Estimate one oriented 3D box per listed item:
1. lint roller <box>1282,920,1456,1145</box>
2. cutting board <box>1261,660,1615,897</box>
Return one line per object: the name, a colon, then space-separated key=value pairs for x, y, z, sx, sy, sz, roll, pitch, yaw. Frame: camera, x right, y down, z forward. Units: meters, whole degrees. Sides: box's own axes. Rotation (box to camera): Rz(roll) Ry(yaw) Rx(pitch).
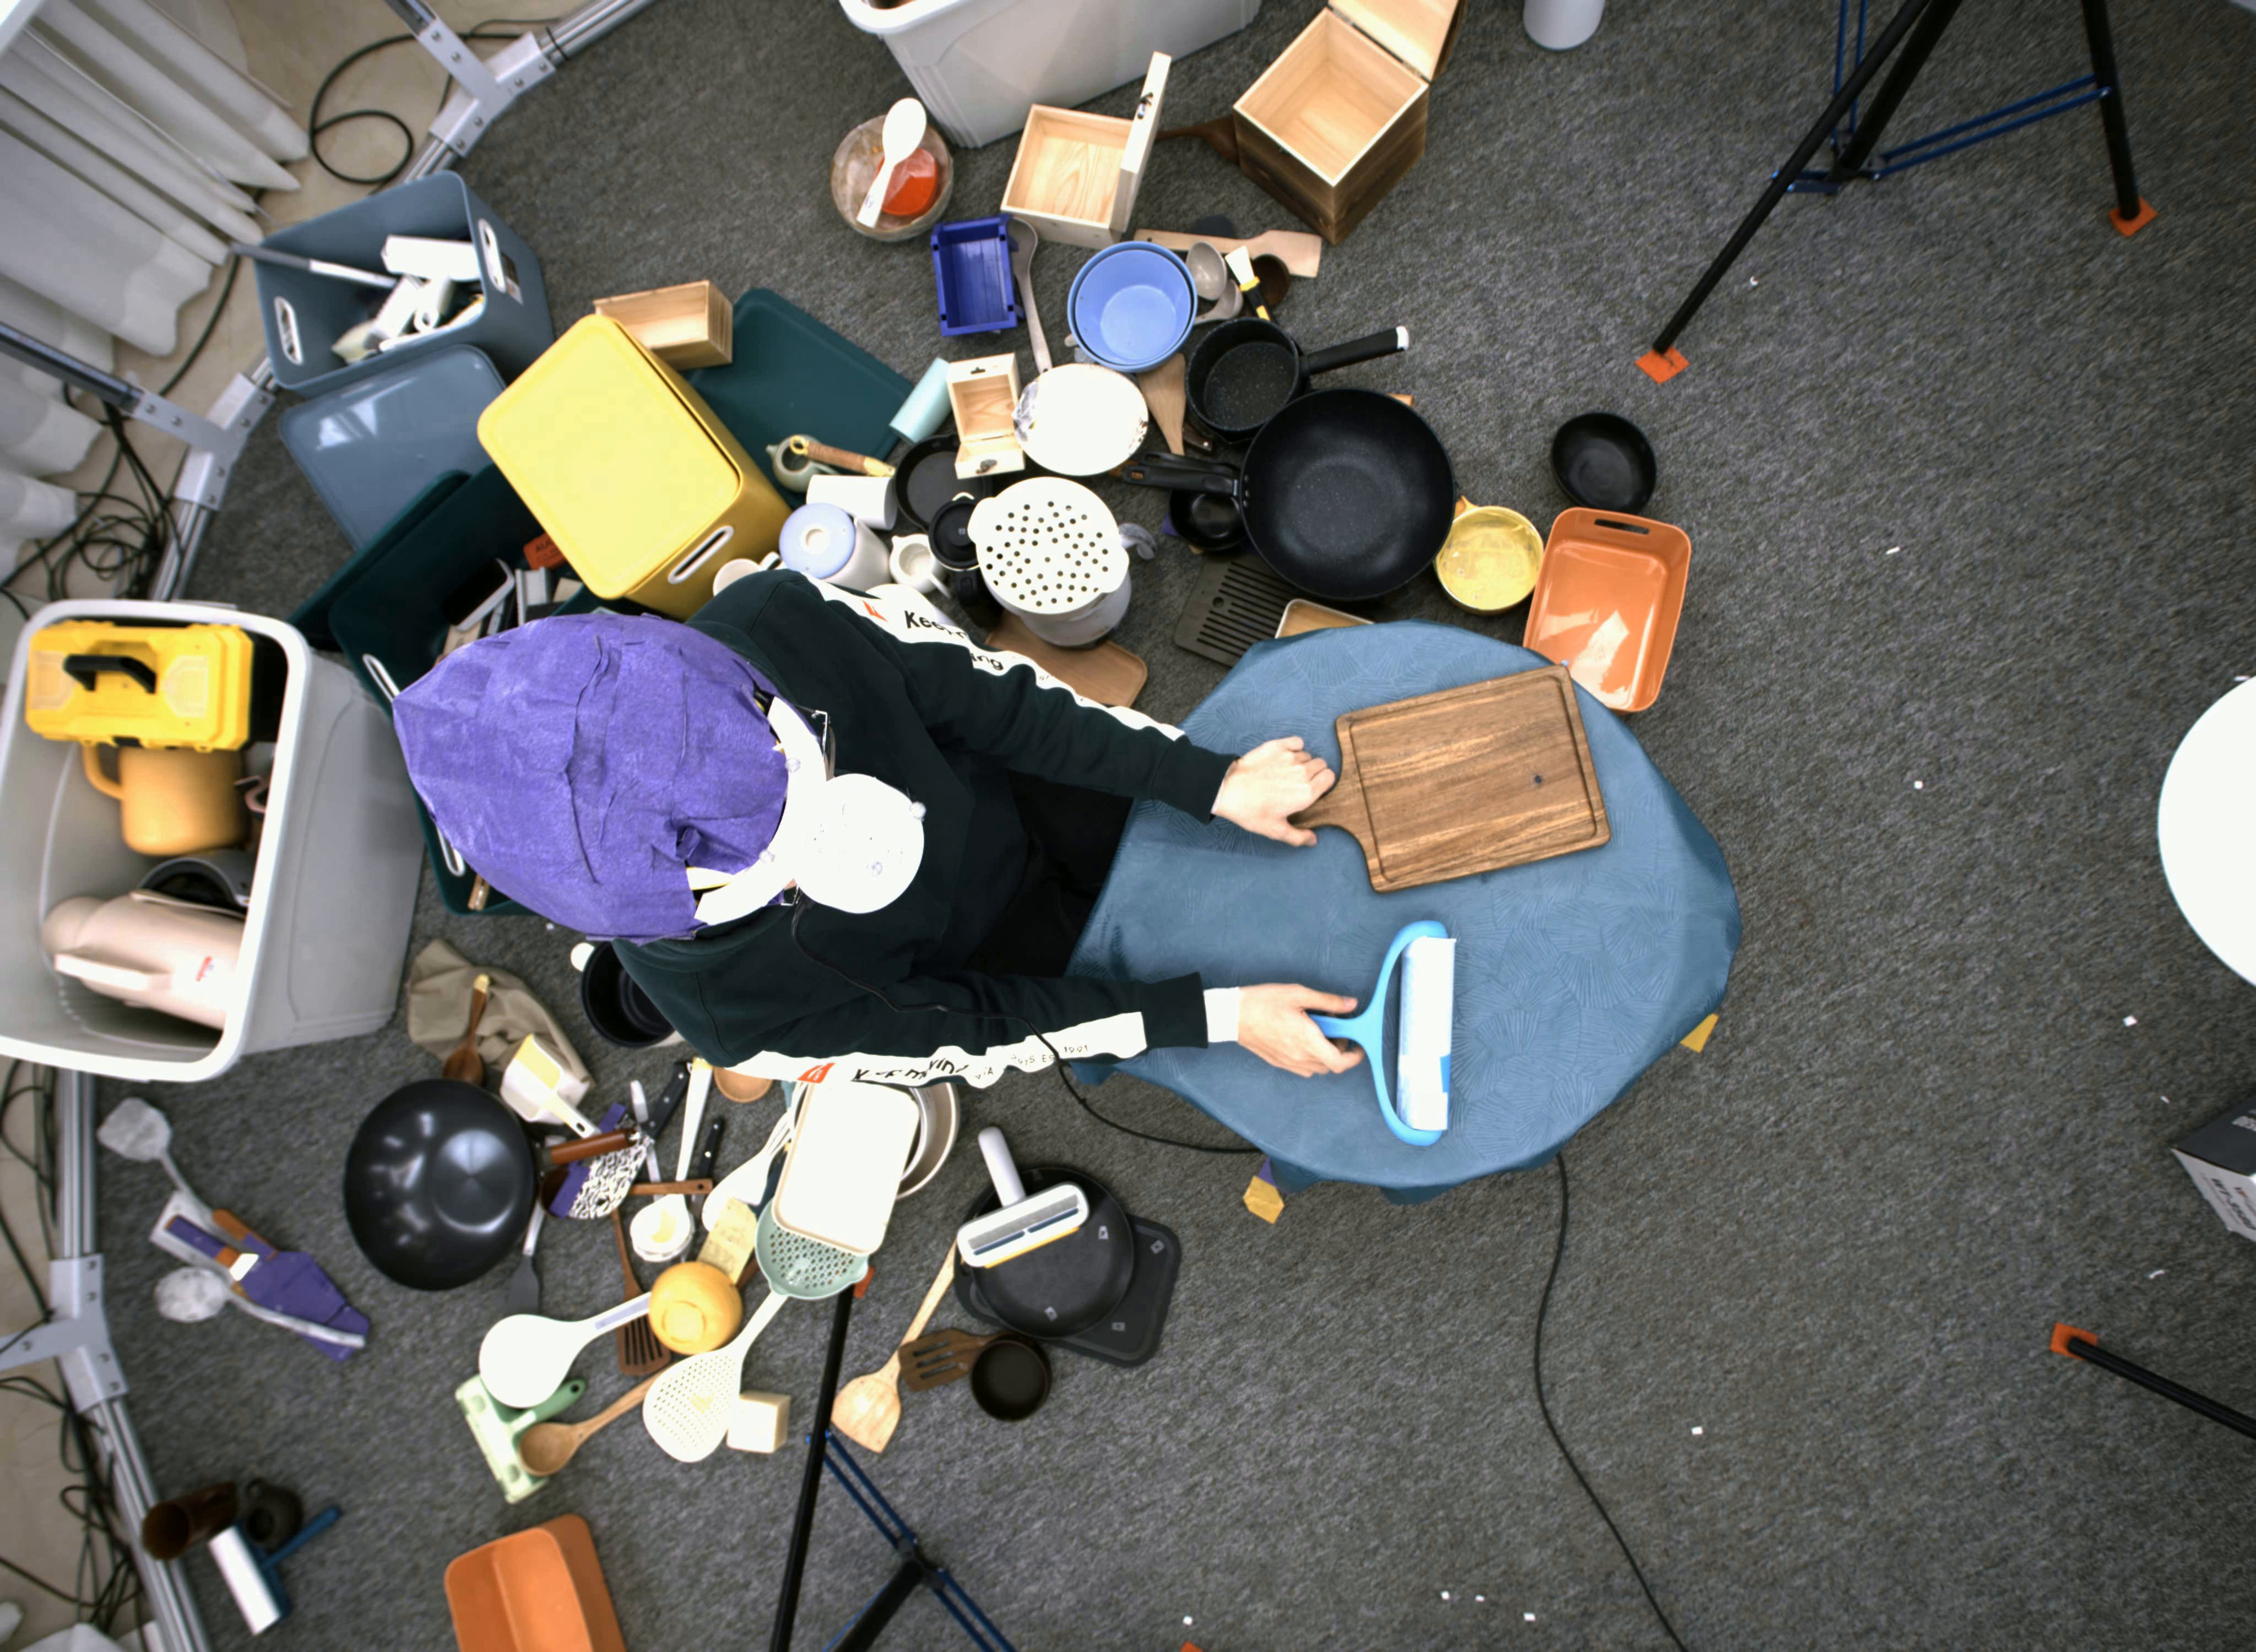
lint roller: x=0.248 y=0.210 z=1.424 sx=0.181 sy=0.068 sz=0.228 roll=-1 pitch=88 yaw=9
cutting board: x=0.311 y=-0.040 z=1.442 sx=0.354 sy=0.023 sz=0.200 roll=-14 pitch=84 yaw=9
